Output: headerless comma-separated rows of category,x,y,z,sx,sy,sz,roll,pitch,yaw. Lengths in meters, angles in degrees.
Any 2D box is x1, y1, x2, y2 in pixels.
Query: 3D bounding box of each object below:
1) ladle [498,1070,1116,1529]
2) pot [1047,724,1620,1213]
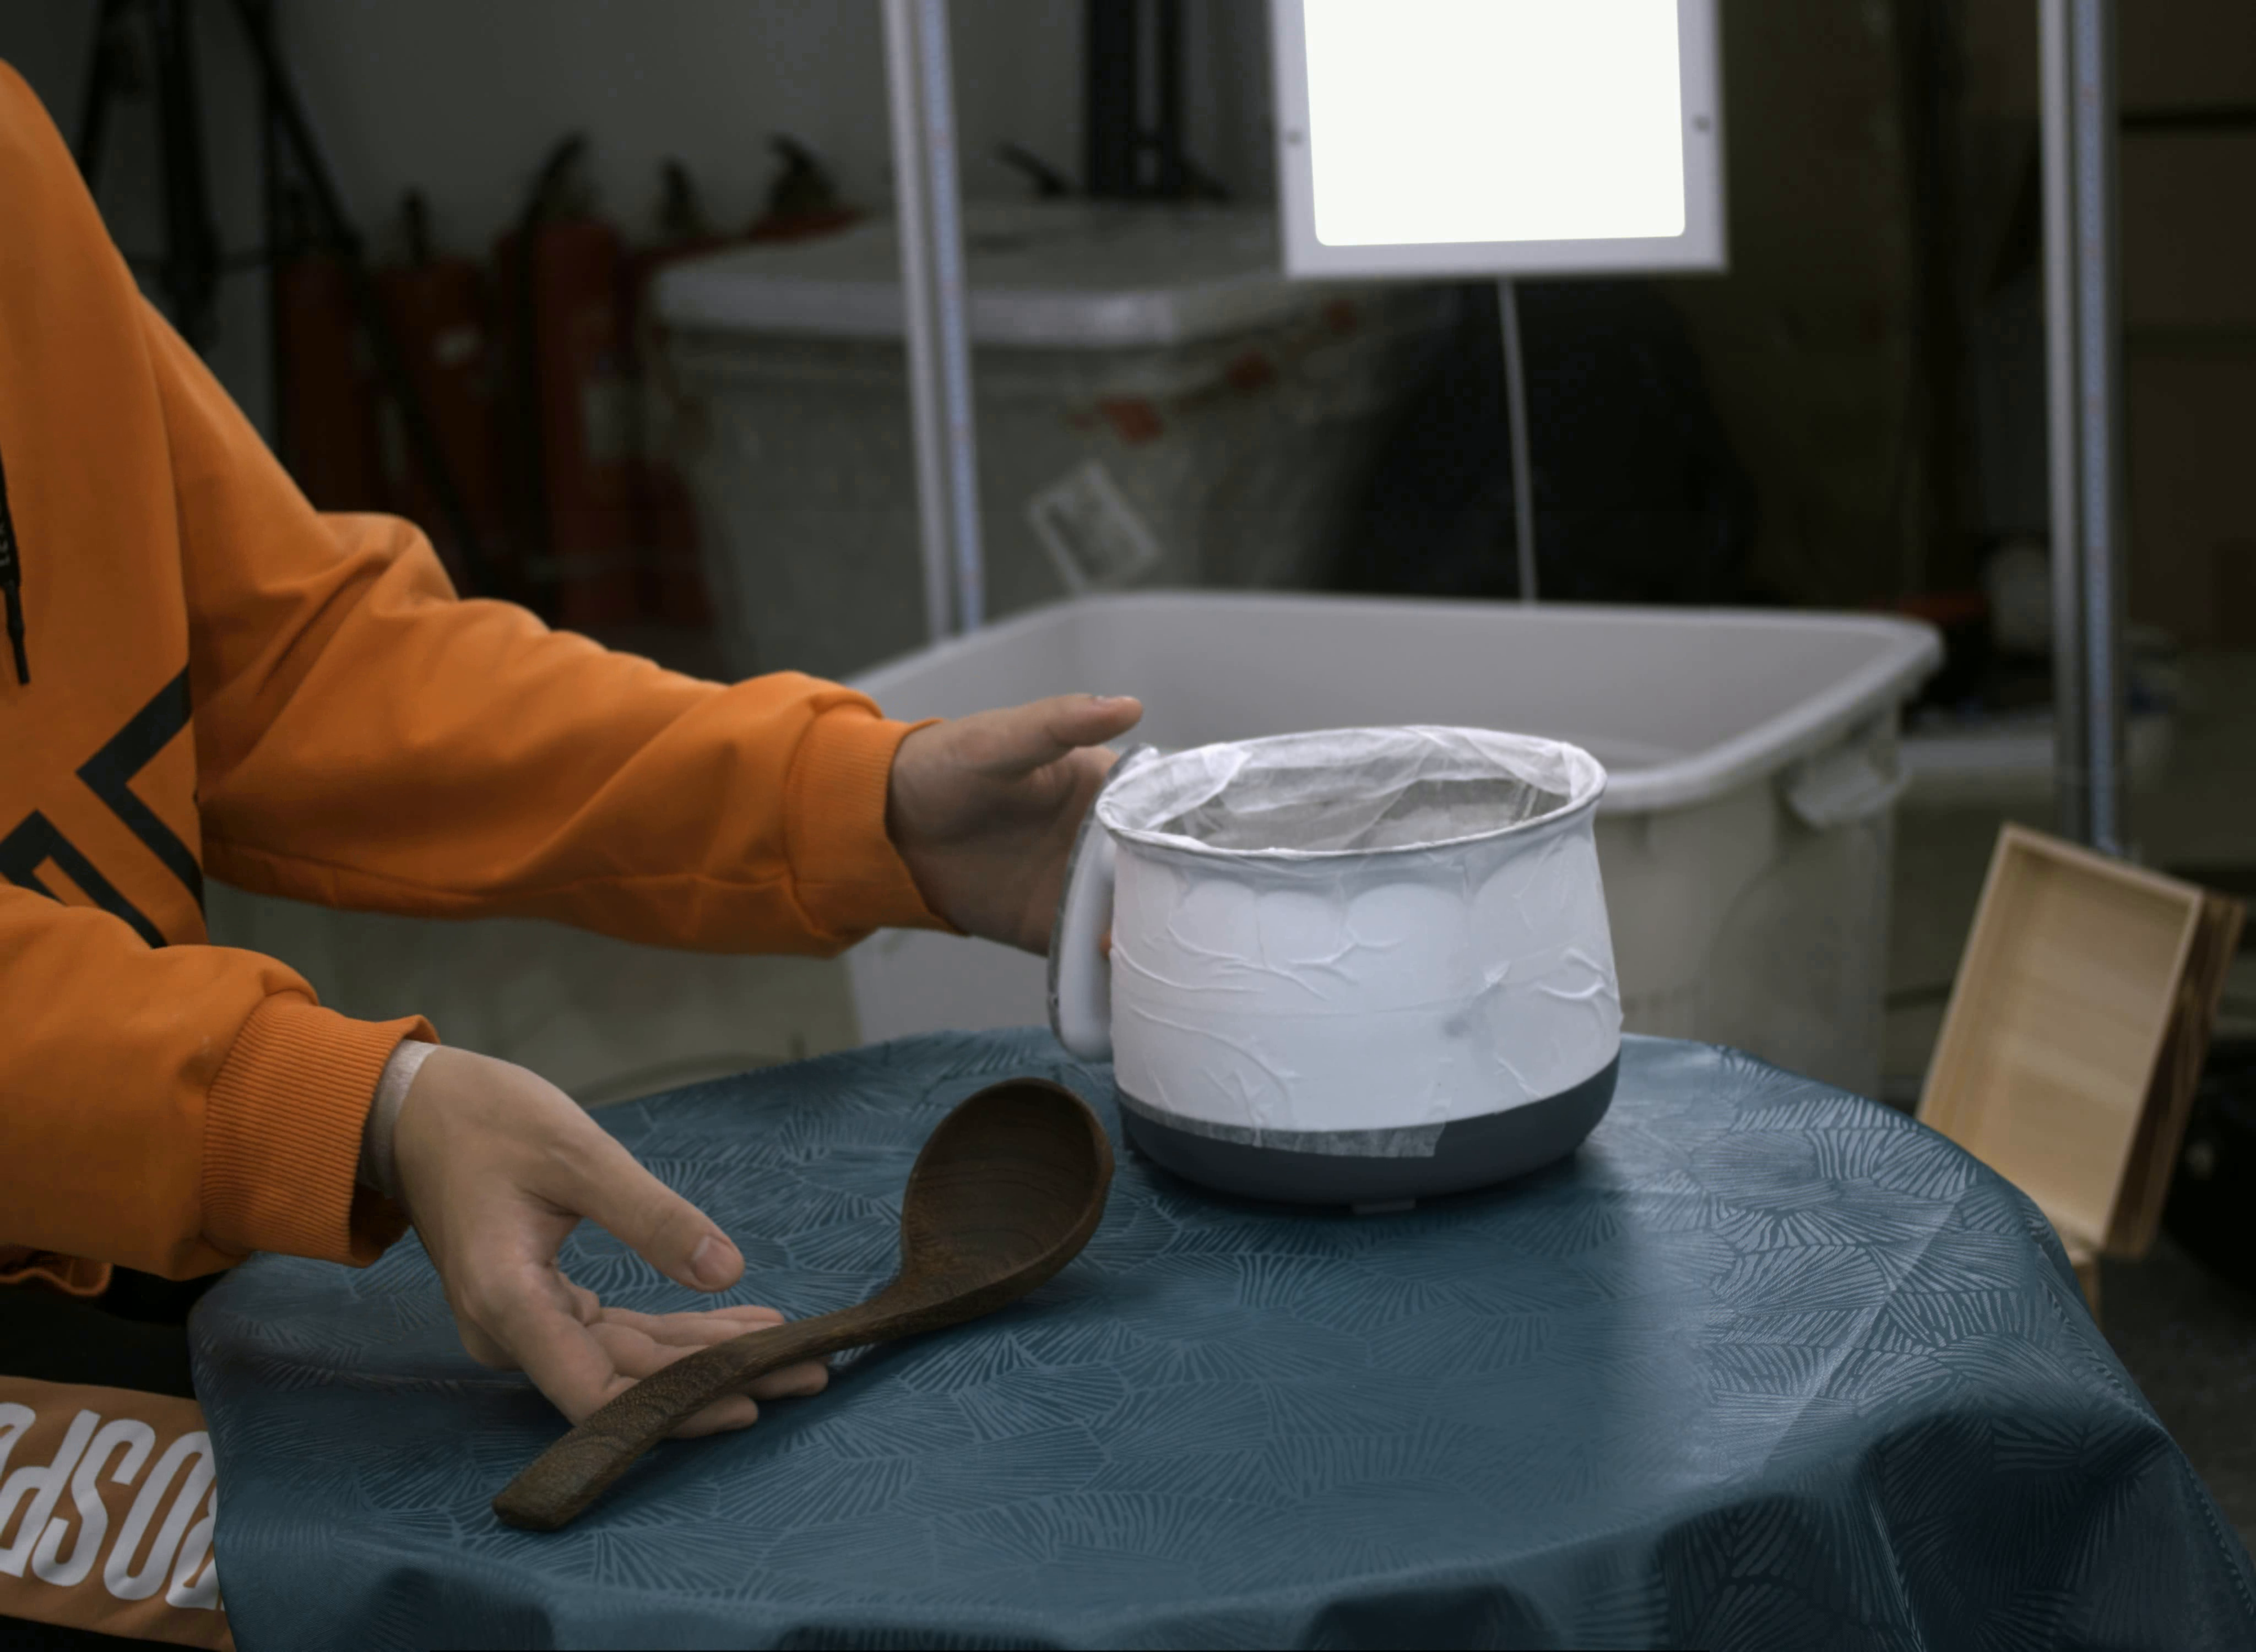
ladle,-0.101,0.143,1.722,0.077,0.071,0.267,4,16,37
pot,0.061,0.044,1.920,0.239,0.137,0.174,9,19,43
